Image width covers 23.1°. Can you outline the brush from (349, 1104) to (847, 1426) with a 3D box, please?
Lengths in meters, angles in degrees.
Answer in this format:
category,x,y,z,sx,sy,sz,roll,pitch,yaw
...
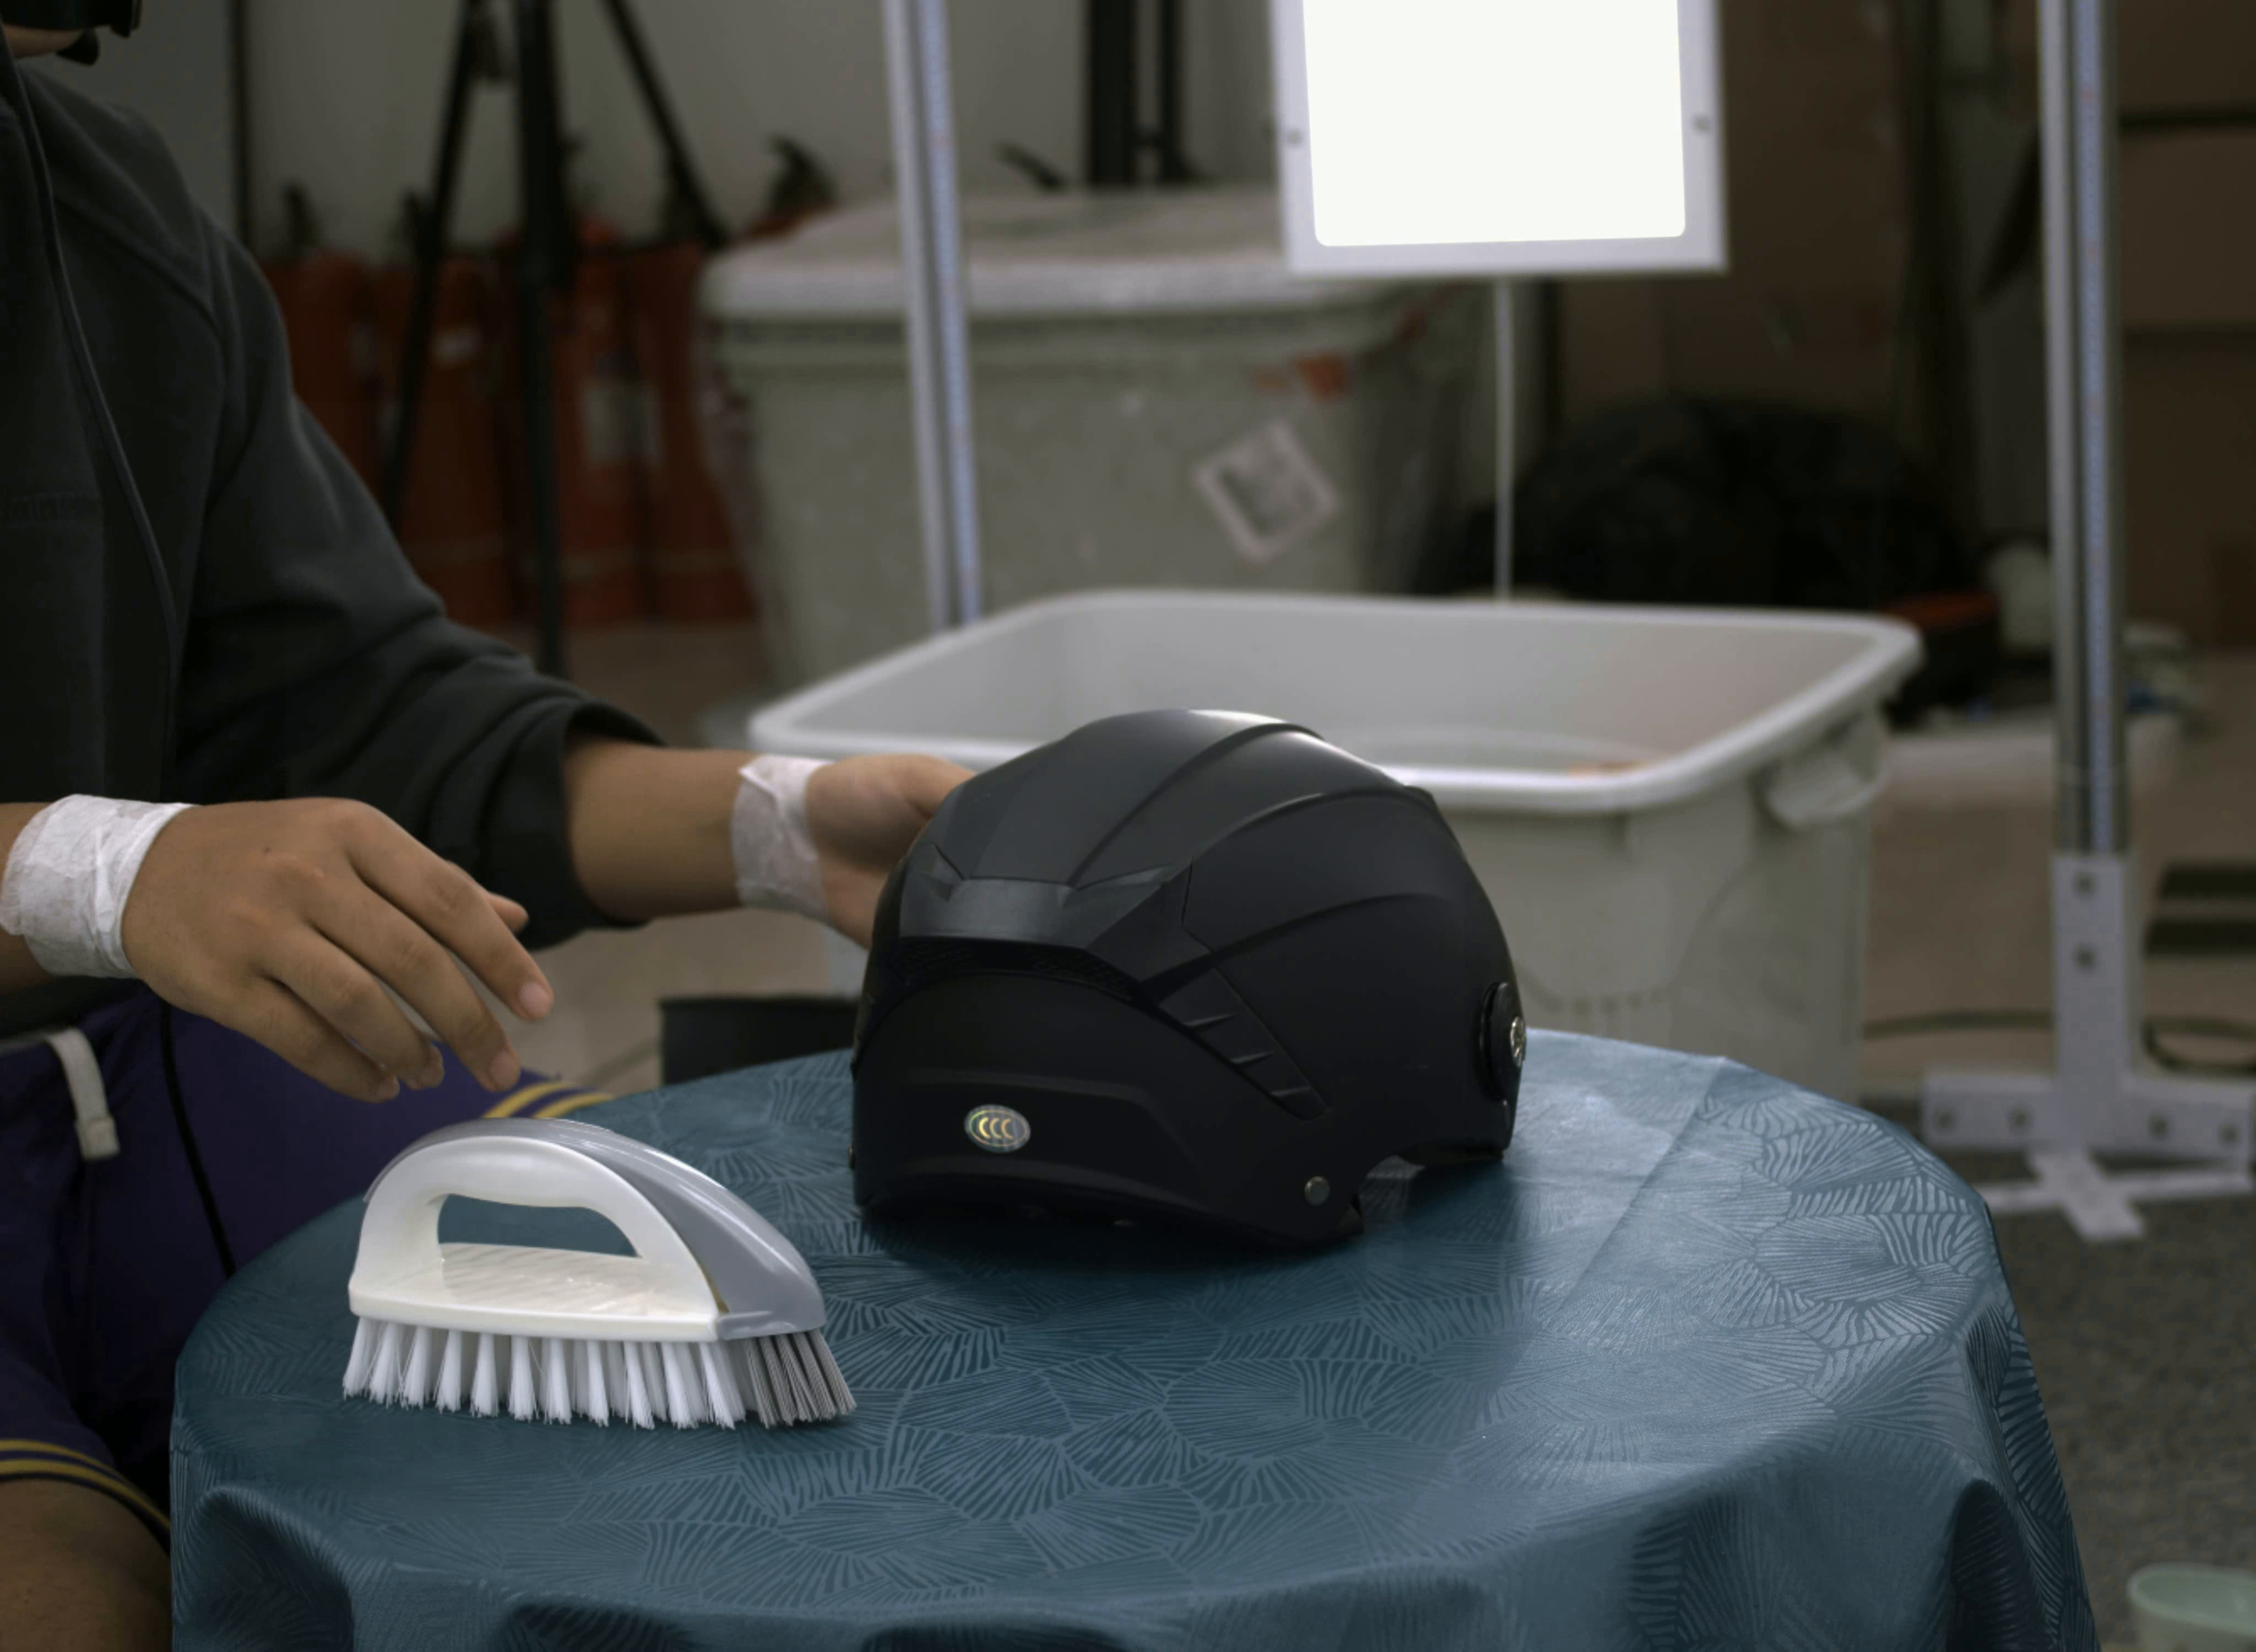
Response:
category,x,y,z,sx,sy,sz,roll,pitch,yaw
brush,-0.166,0.135,1.730,0.179,0.094,0.060,6,18,30

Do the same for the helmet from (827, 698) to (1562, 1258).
category,x,y,z,sx,sy,sz,roll,pitch,yaw
helmet,0.020,0.042,1.901,0.251,0.173,0.270,4,20,30
